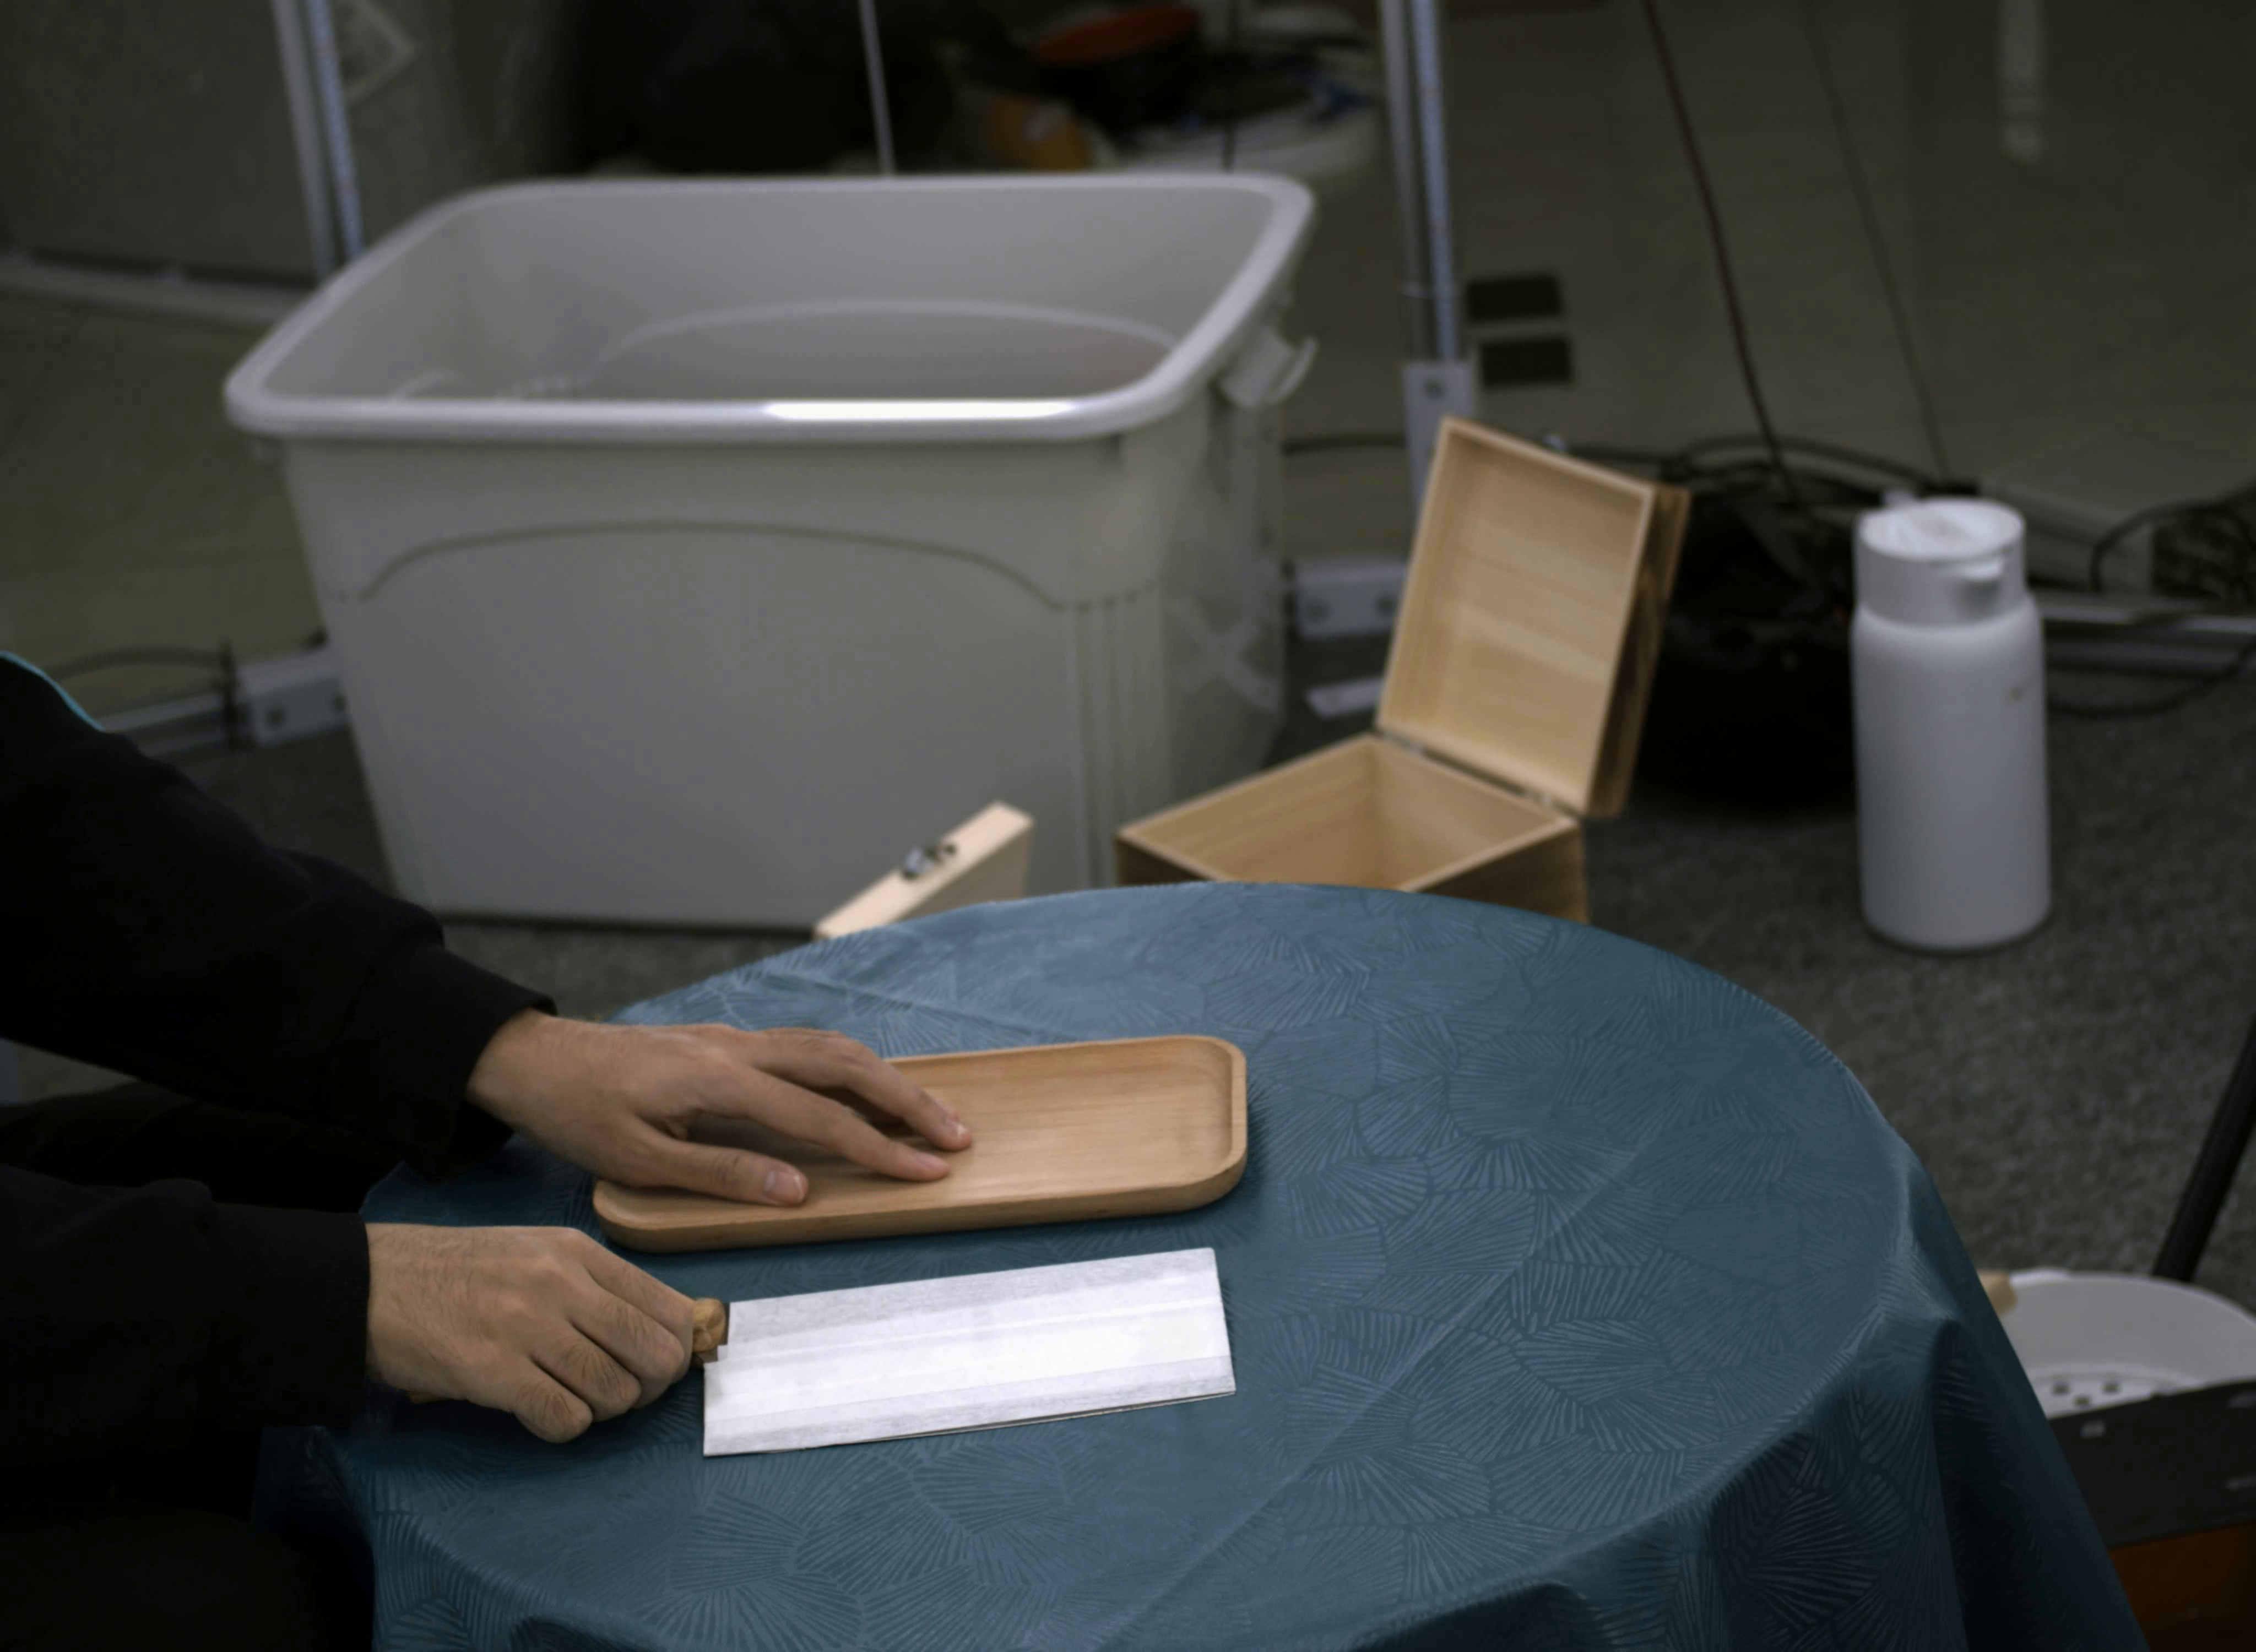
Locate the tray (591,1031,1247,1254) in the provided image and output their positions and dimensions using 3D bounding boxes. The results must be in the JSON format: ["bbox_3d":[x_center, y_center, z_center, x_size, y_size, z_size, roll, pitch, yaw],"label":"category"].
[{"bbox_3d":[-0.079,0.122,2.184,0.250,0.023,0.129,-5,23,5],"label":"tray"}]

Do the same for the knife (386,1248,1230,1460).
[{"bbox_3d":[-0.116,0.194,2.041,0.305,0.021,0.091,-6,32,-1],"label":"knife"}]
